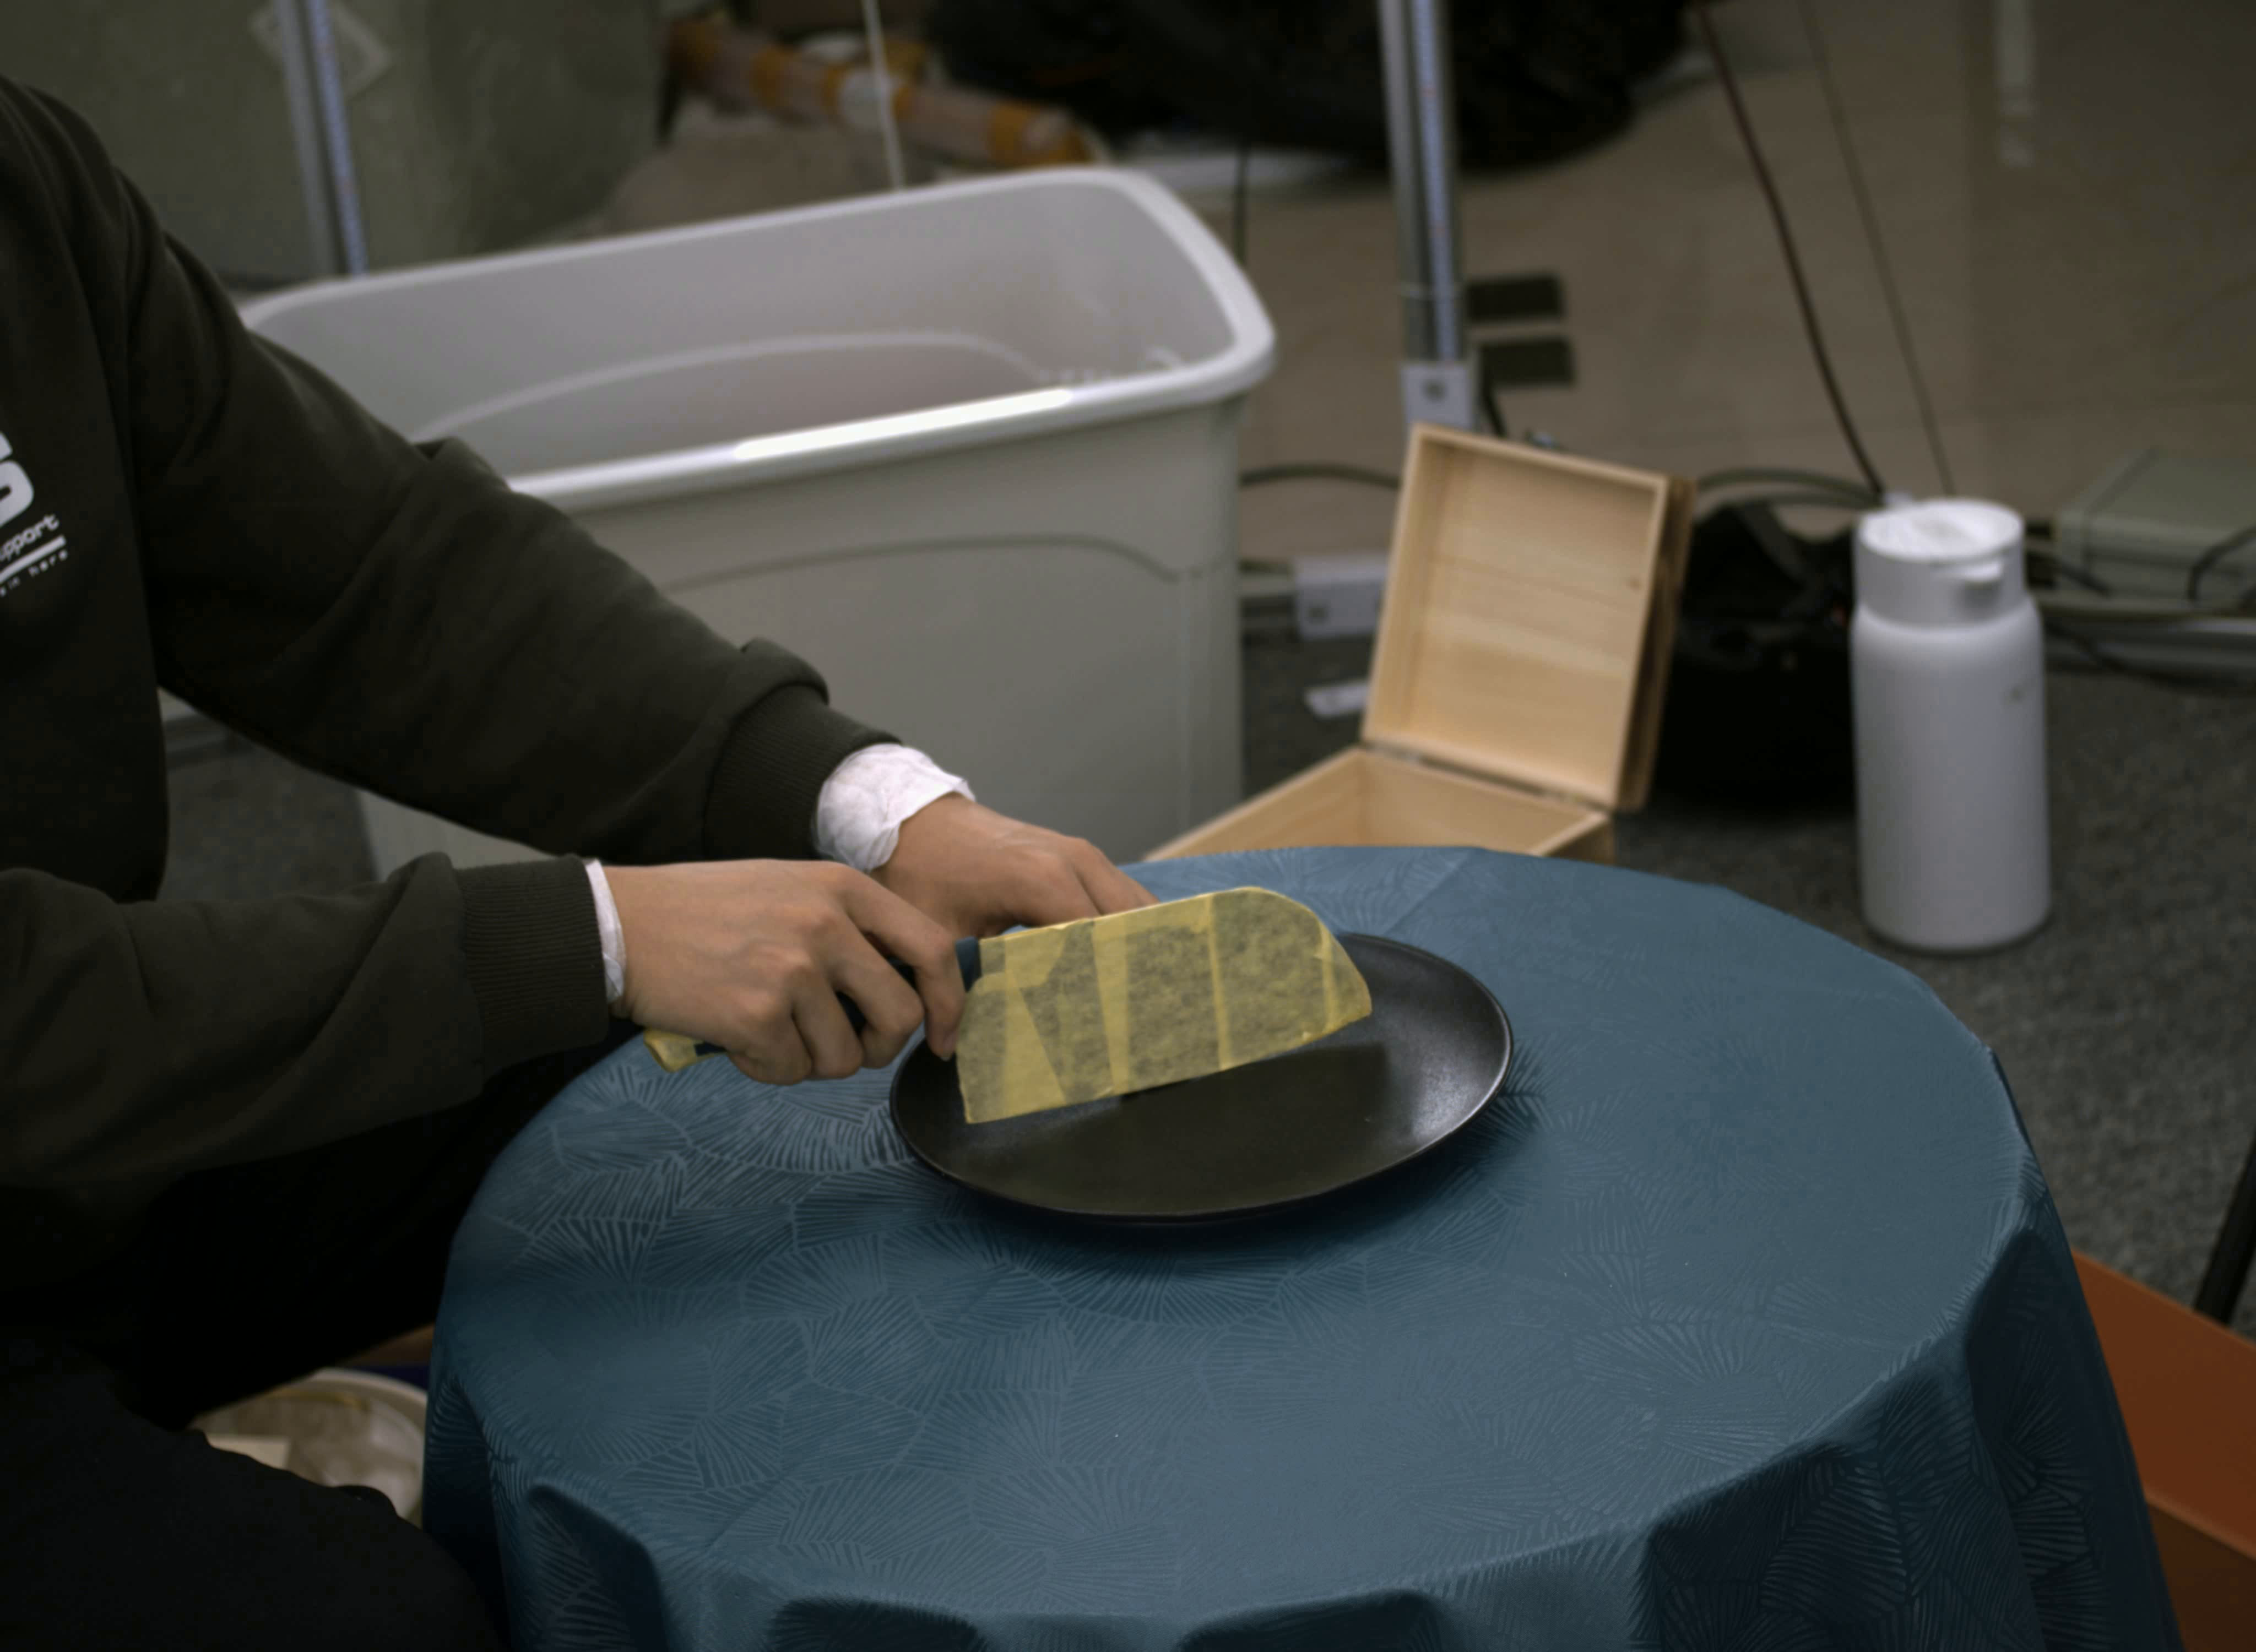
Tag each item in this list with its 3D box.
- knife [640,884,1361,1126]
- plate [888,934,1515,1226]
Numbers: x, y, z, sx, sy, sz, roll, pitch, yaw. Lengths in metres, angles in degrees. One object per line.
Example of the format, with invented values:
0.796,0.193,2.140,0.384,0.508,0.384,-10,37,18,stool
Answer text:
-0.046,0.074,2.181,0.289,0.082,0.027,-8,14,-16,knife
0.029,0.102,2.197,0.244,0.024,0.241,-5,25,3,plate
